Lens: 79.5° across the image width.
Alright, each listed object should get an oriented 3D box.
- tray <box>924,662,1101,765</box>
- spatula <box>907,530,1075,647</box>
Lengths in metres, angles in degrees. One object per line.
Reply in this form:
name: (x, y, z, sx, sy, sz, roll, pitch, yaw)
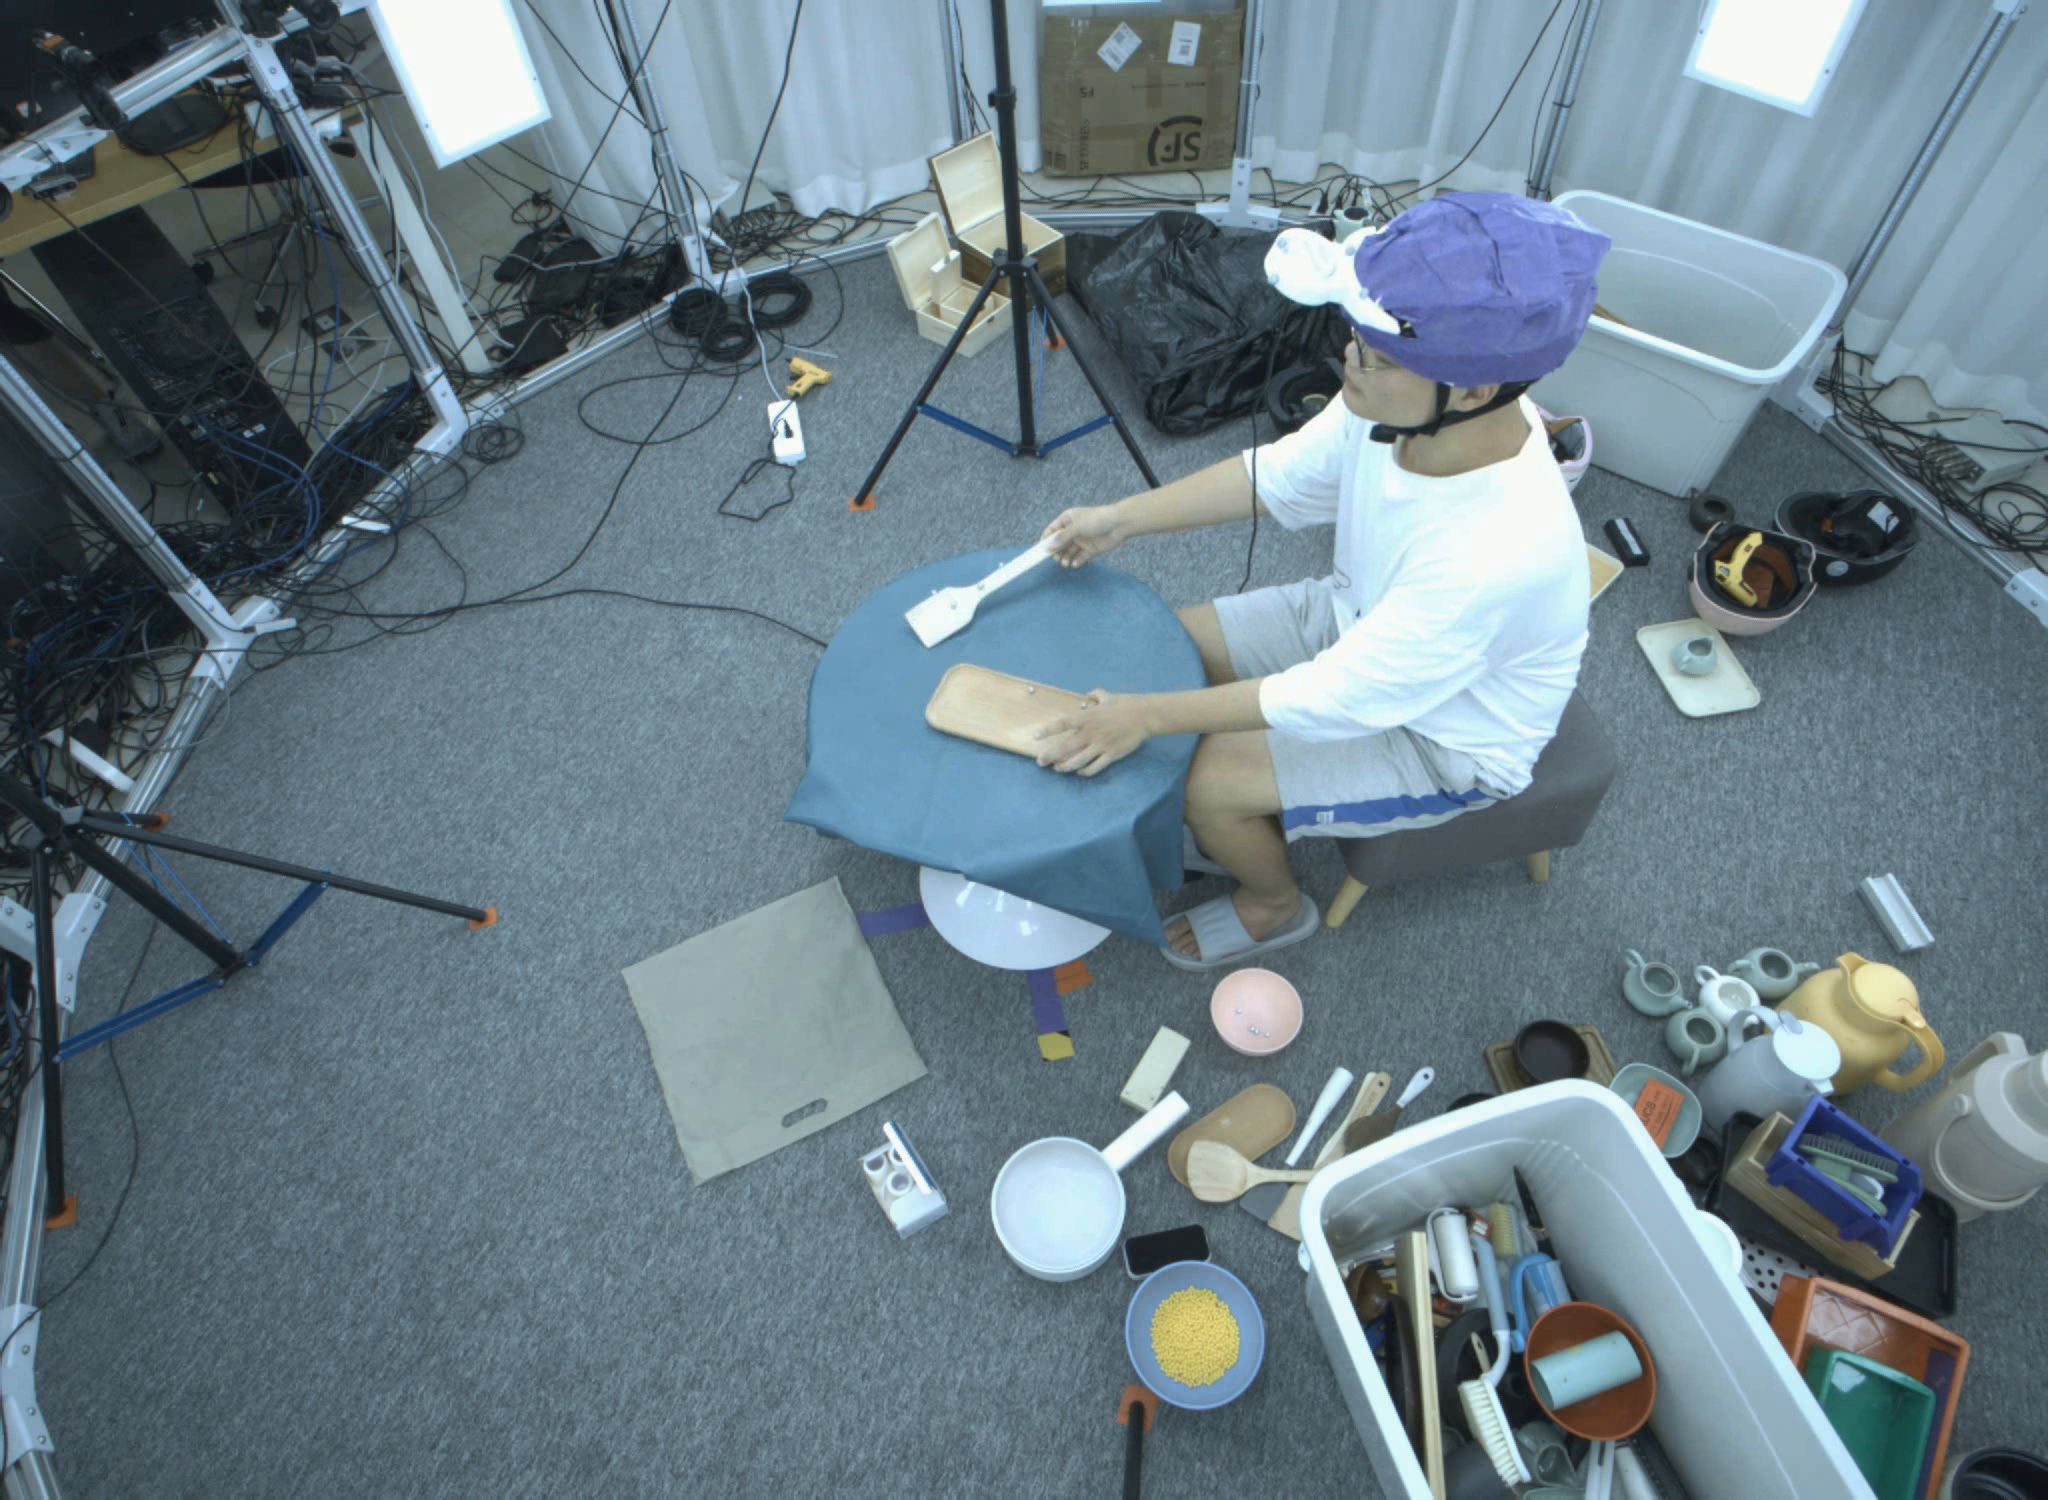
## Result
tray: (-0.017, -0.055, 1.814, 0.248, 0.023, 0.130, 17, 53, 13)
spatula: (-0.046, -0.264, 1.930, 0.294, 0.011, 0.071, -33, 78, -8)
